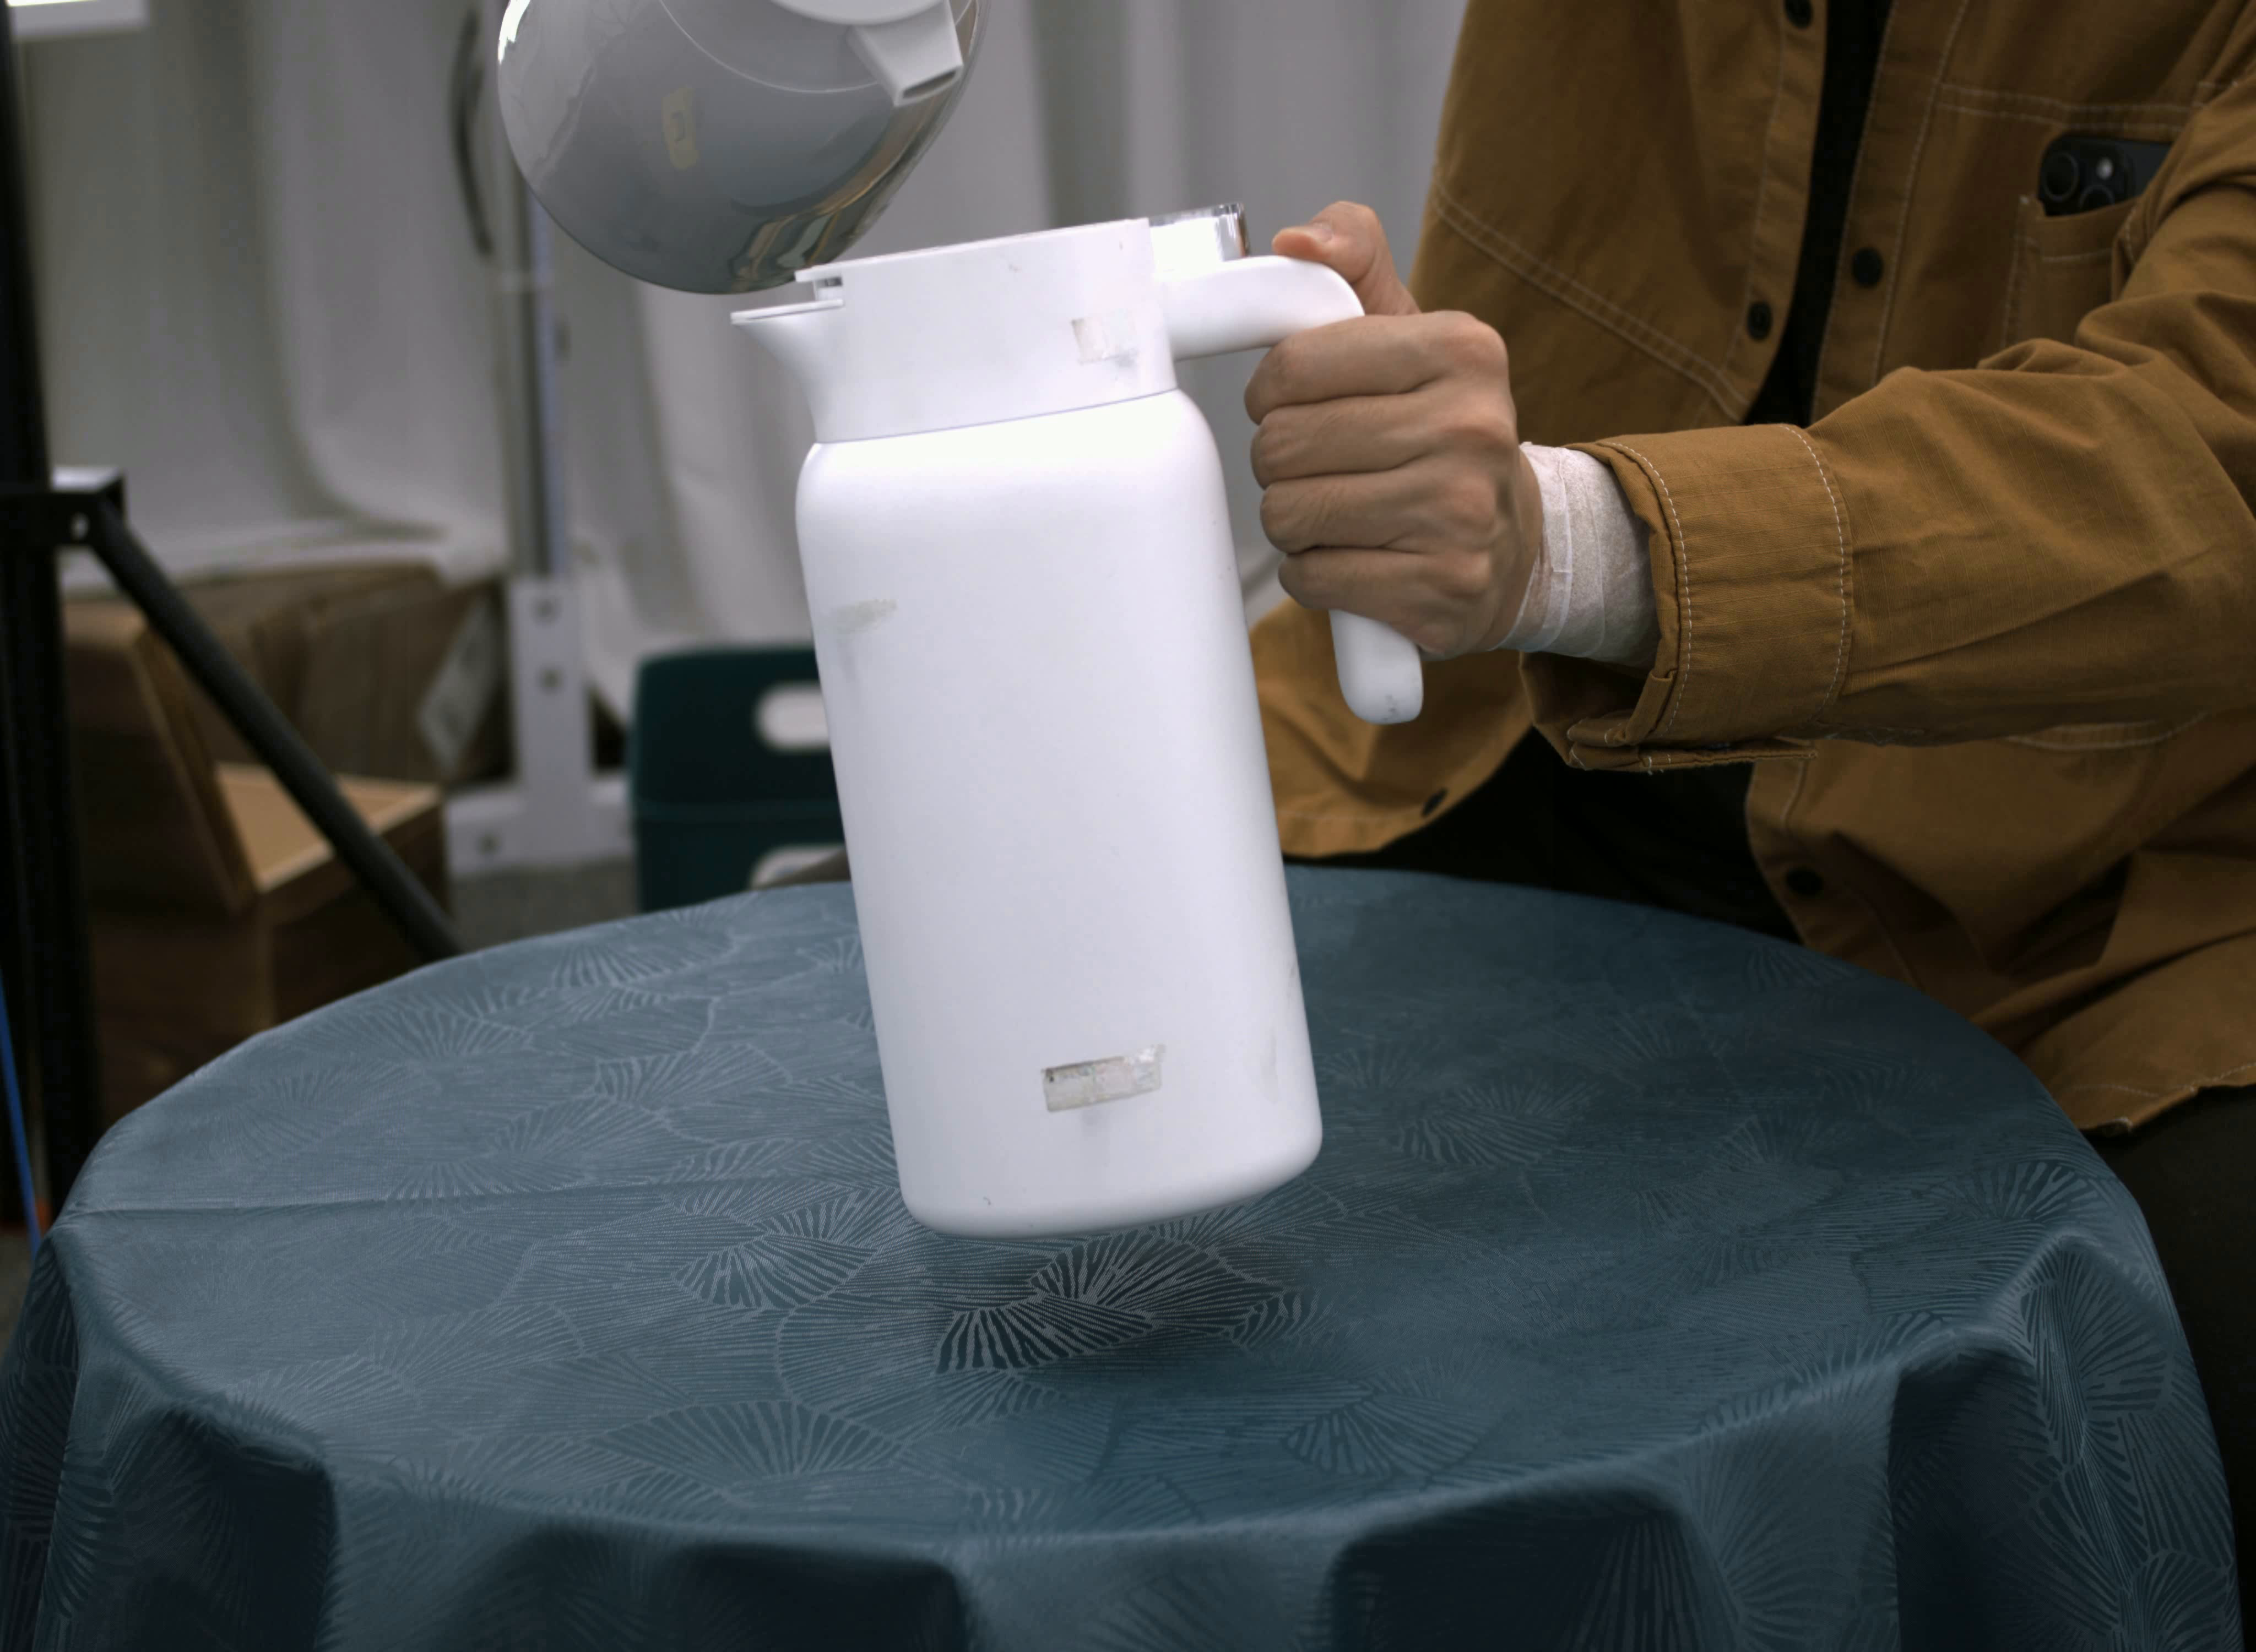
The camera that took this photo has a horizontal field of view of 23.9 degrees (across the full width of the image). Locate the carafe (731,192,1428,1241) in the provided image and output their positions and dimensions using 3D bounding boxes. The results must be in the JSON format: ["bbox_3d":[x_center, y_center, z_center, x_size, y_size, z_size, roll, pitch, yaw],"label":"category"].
[{"bbox_3d":[-0.005,-0.032,1.441,0.171,0.270,0.125,-10,4,-10],"label":"carafe"}]

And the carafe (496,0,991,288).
[{"bbox_3d":[-0.109,-0.263,1.534,0.131,0.168,0.250,-24,-2,-15],"label":"carafe"}]
